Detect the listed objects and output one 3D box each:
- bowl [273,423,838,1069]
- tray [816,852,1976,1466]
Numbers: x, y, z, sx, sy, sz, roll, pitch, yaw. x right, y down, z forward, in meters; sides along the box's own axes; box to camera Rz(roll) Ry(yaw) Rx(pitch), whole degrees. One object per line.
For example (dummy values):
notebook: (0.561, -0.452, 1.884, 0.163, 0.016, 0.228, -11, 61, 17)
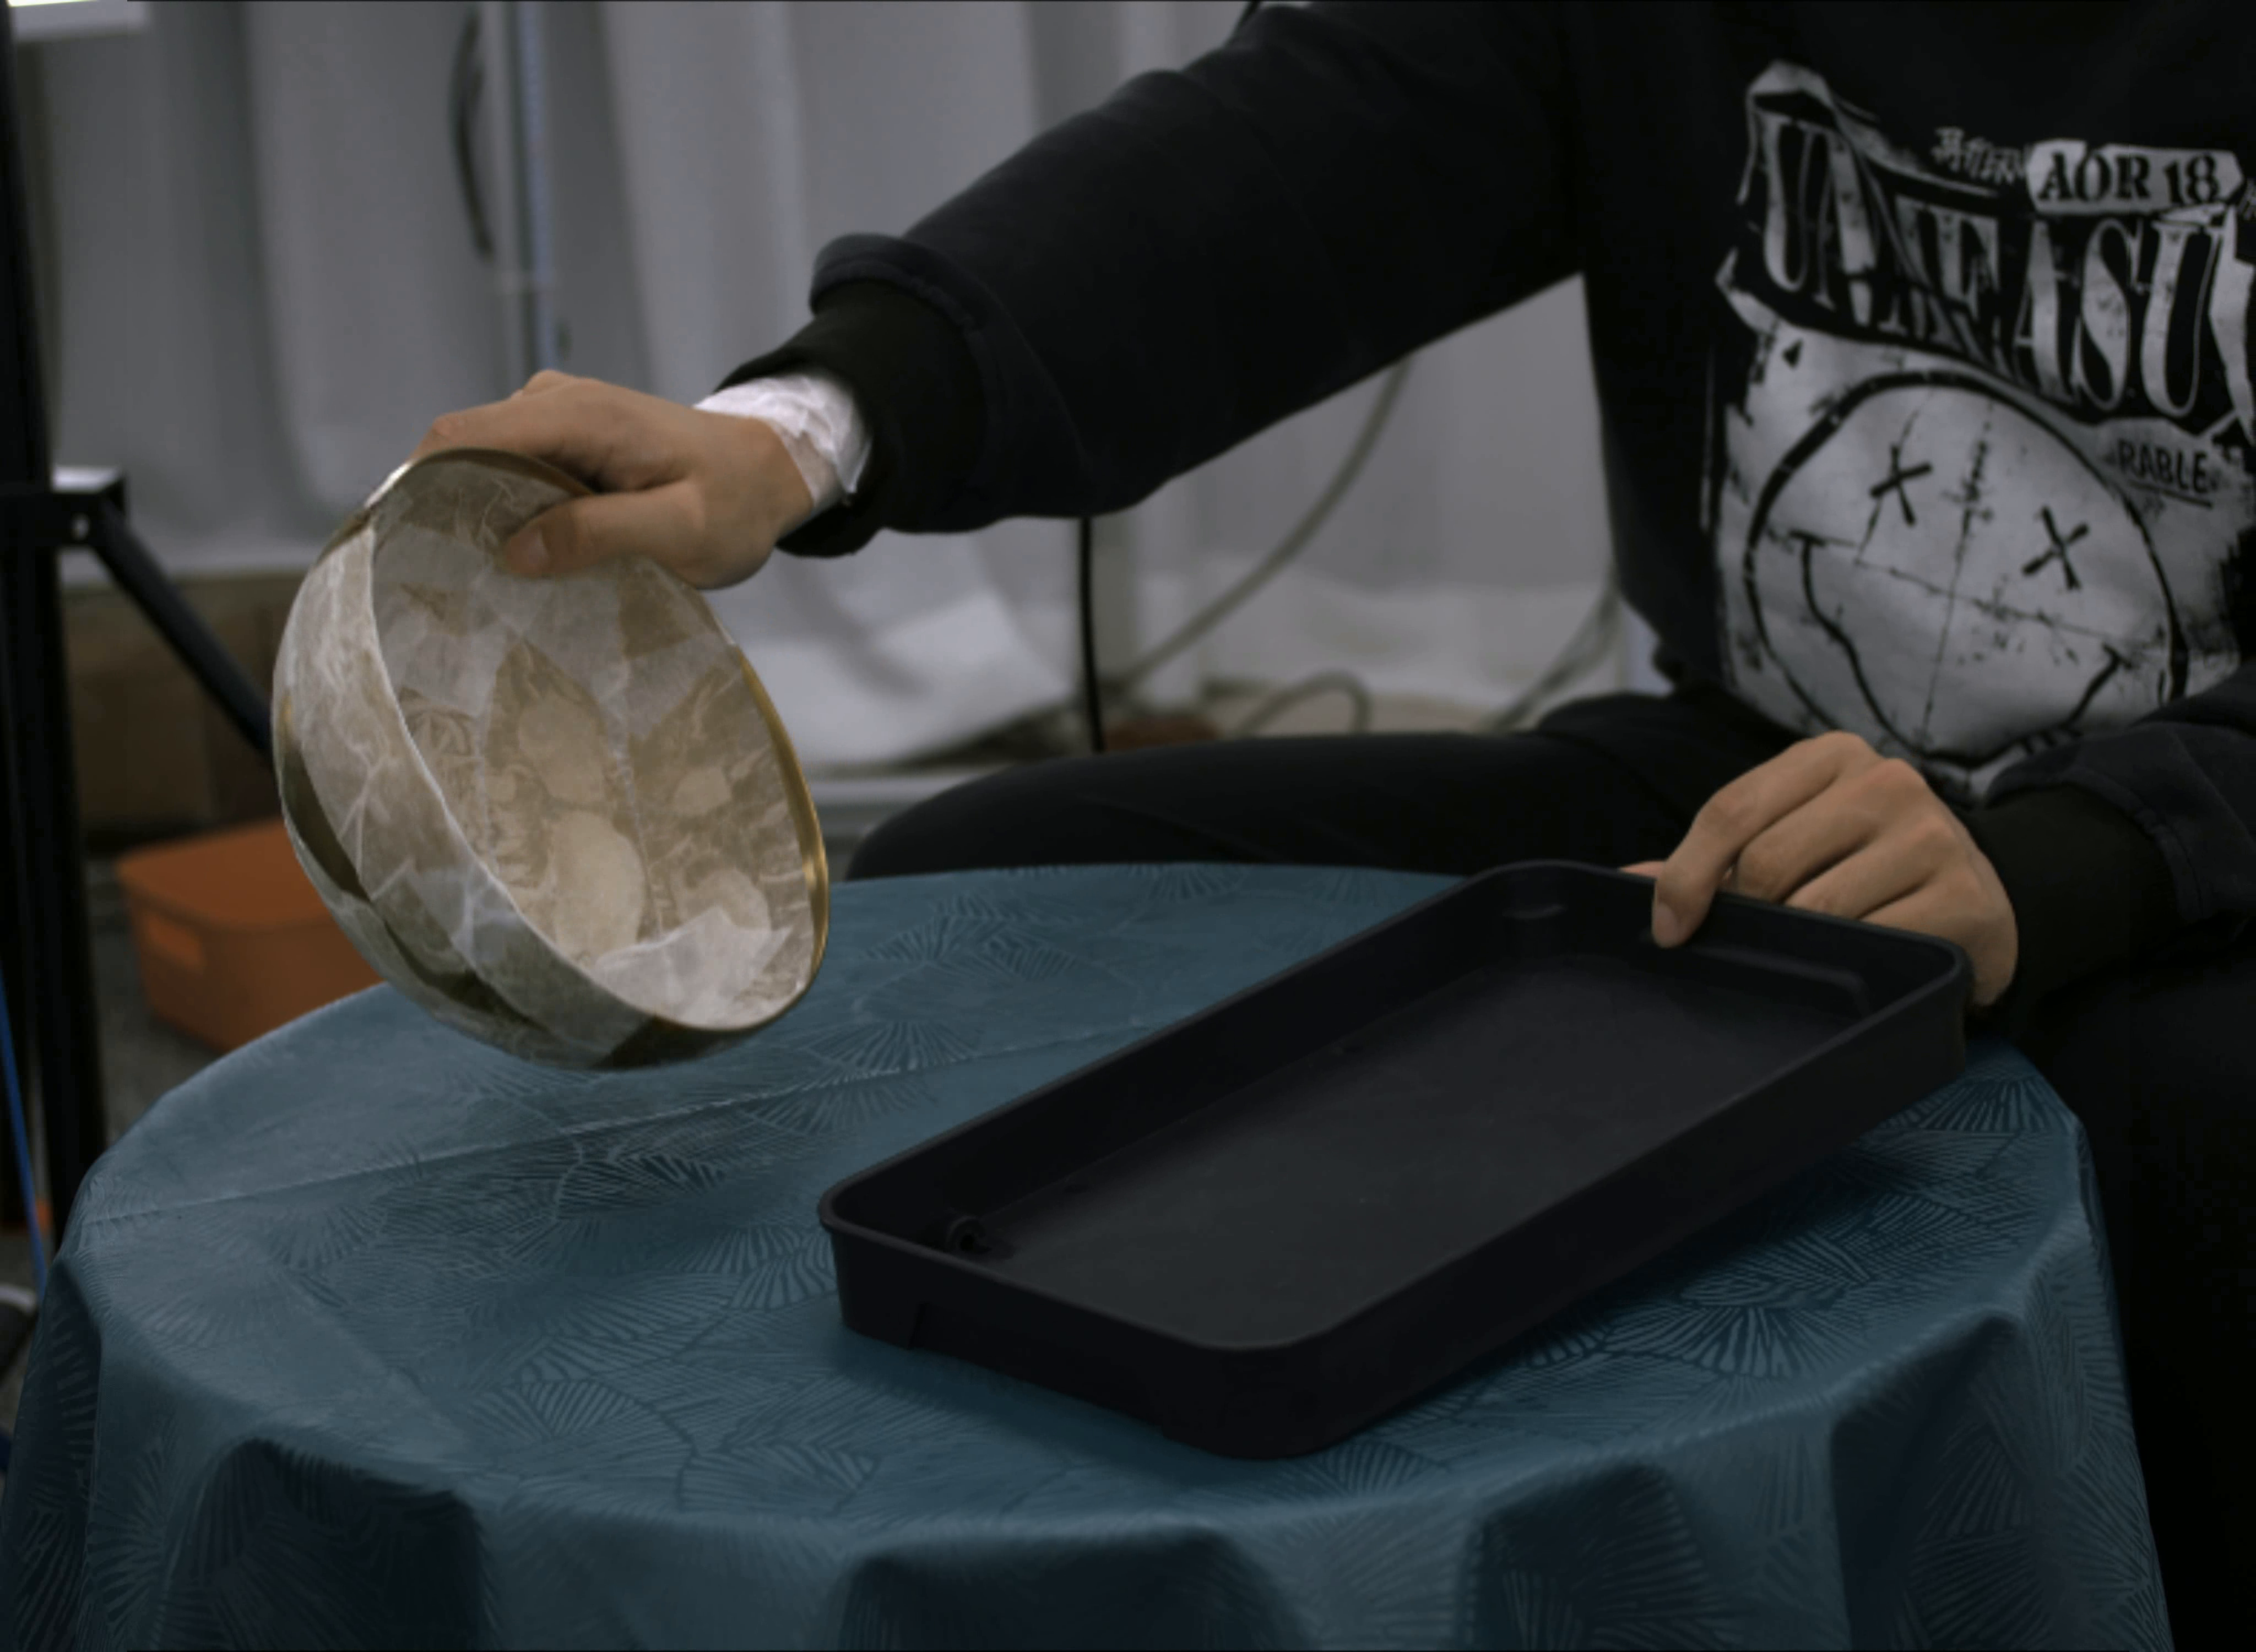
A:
bowl: (-0.185, -0.007, 1.609, 0.095, 0.215, 0.212, -33, 1, 26)
tray: (0.081, 0.086, 1.501, 0.311, 0.037, 0.188, -24, 26, -38)
